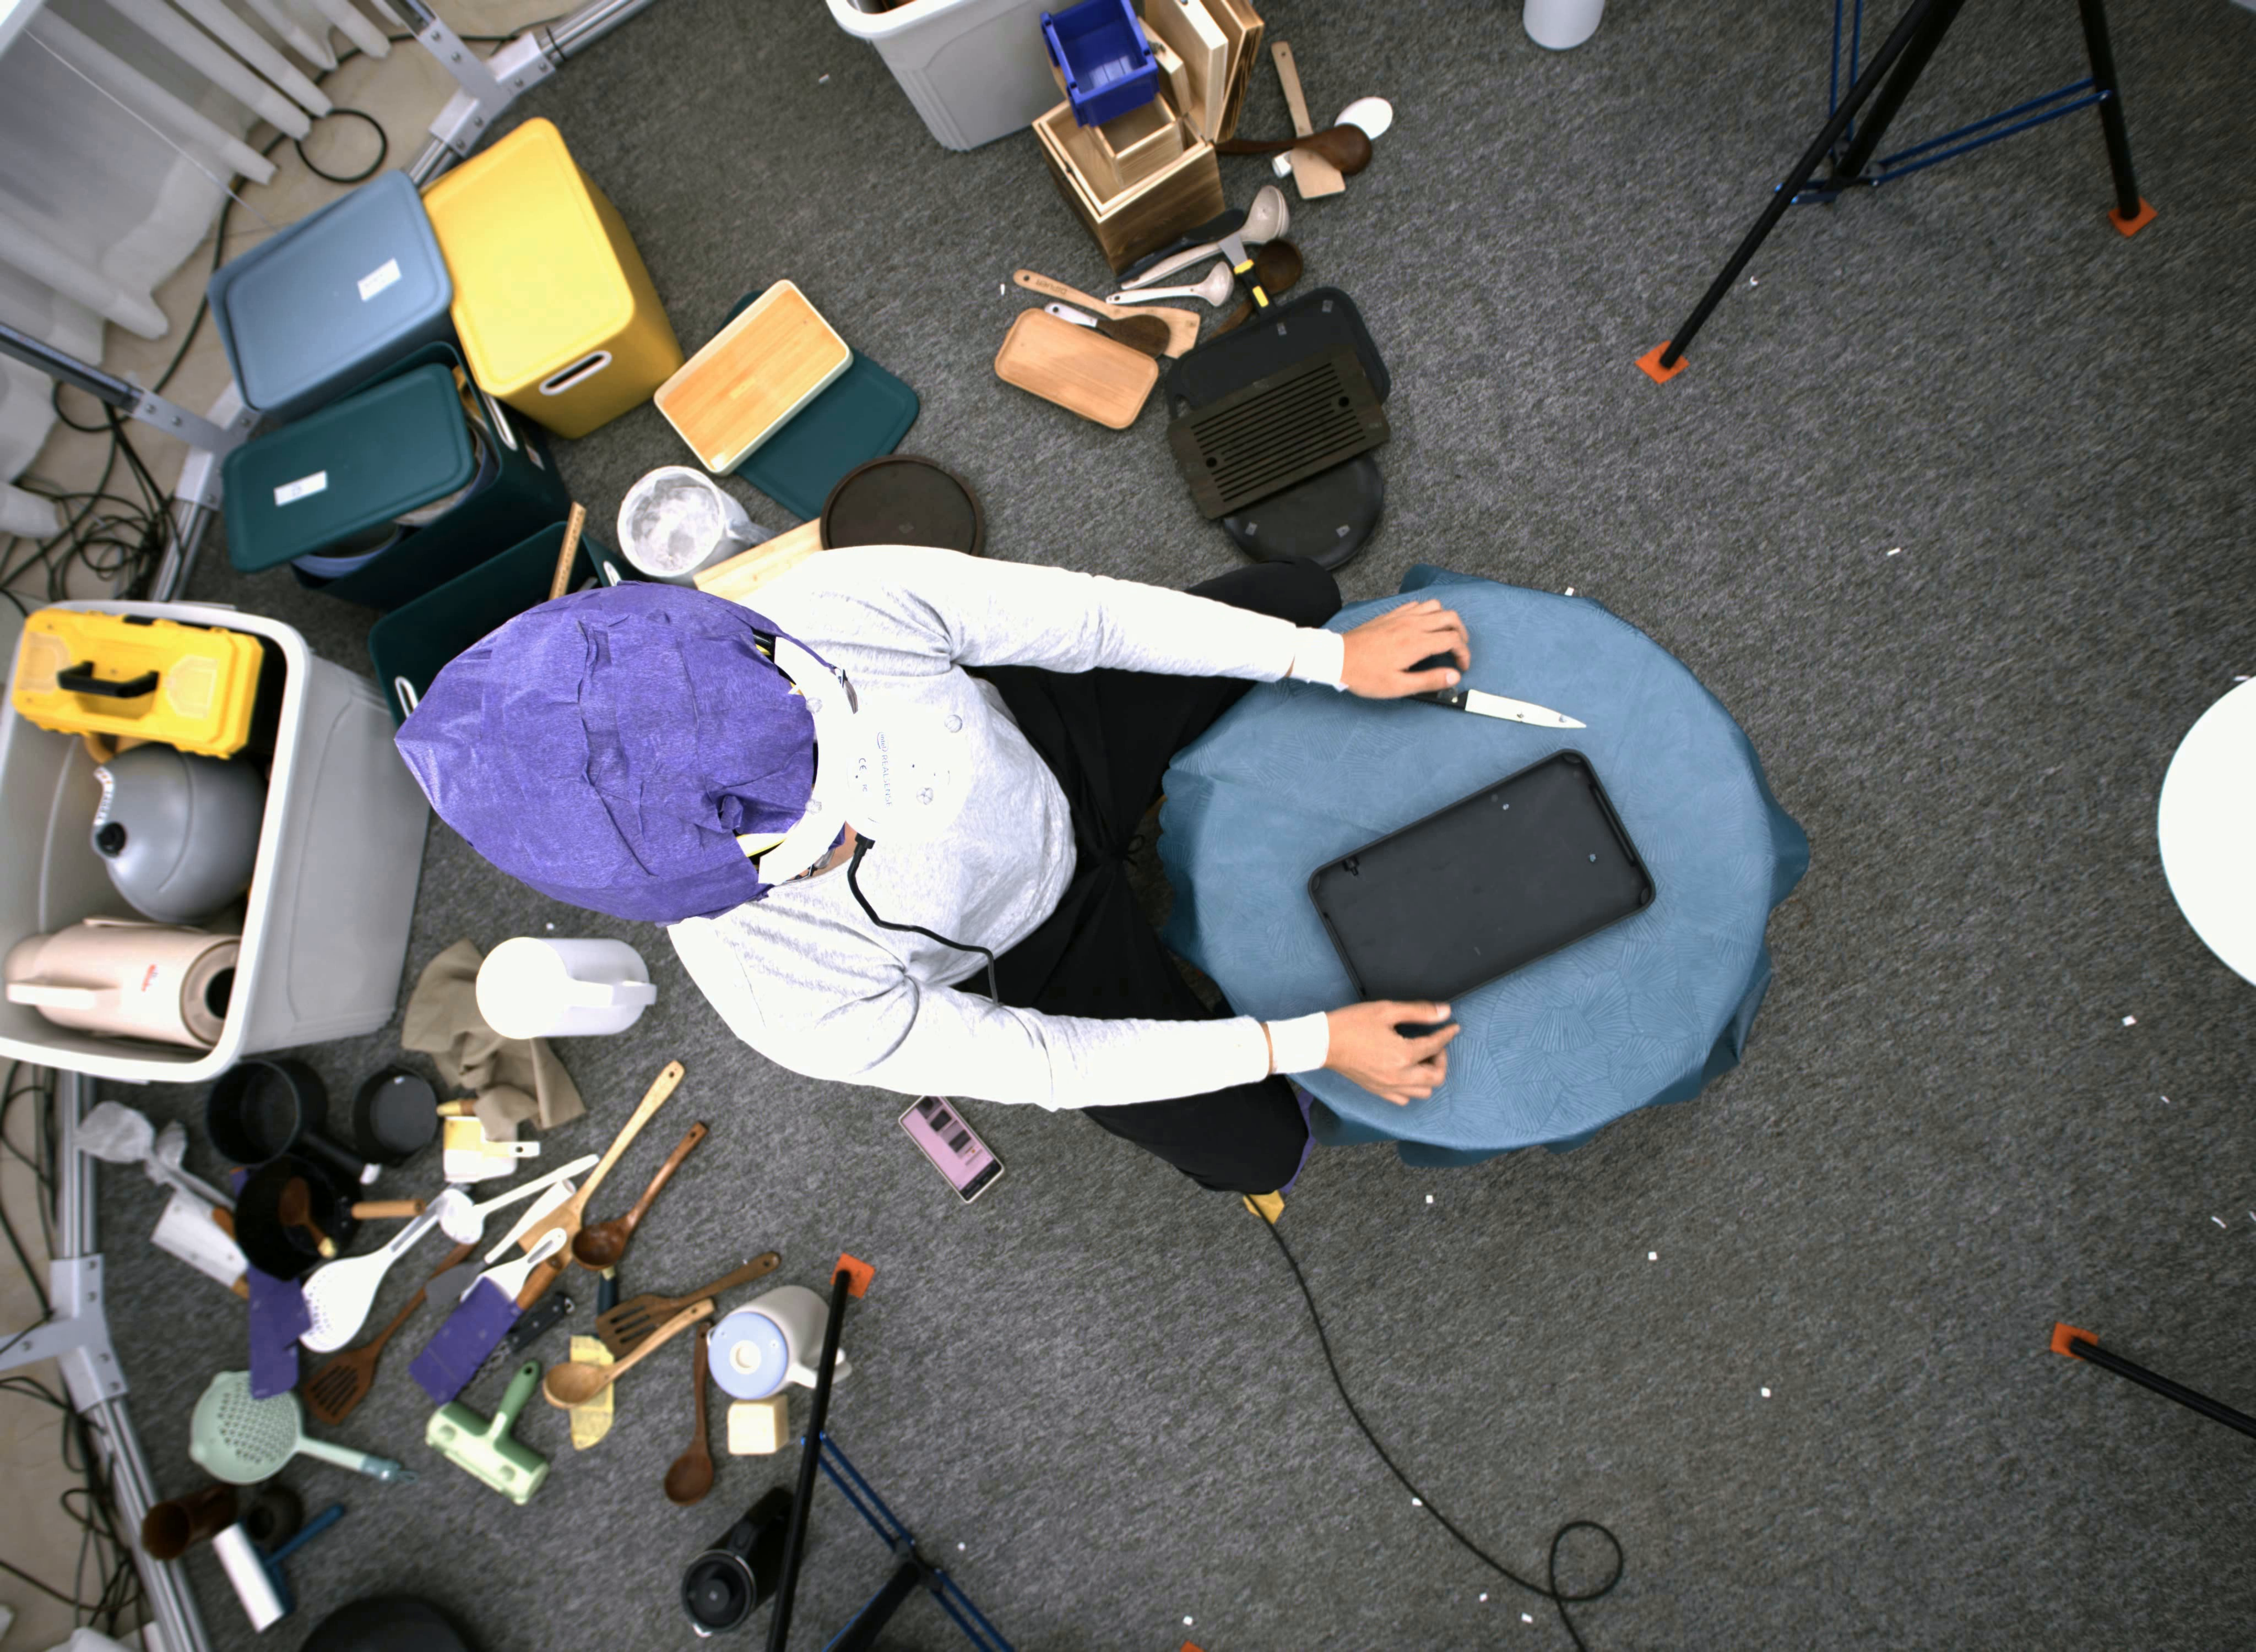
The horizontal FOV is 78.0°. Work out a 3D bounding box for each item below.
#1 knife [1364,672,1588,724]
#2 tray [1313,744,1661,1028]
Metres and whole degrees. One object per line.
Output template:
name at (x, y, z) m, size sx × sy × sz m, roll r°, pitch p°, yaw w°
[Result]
knife at (0.366, -0.133, 1.448) m, size 0.238 × 0.016 × 0.024 m, roll 11°, pitch 91°, yaw 8°
tray at (0.367, 0.061, 1.424) m, size 0.320 × 0.037 × 0.183 m, roll -28°, pitch 82°, yaw 8°
